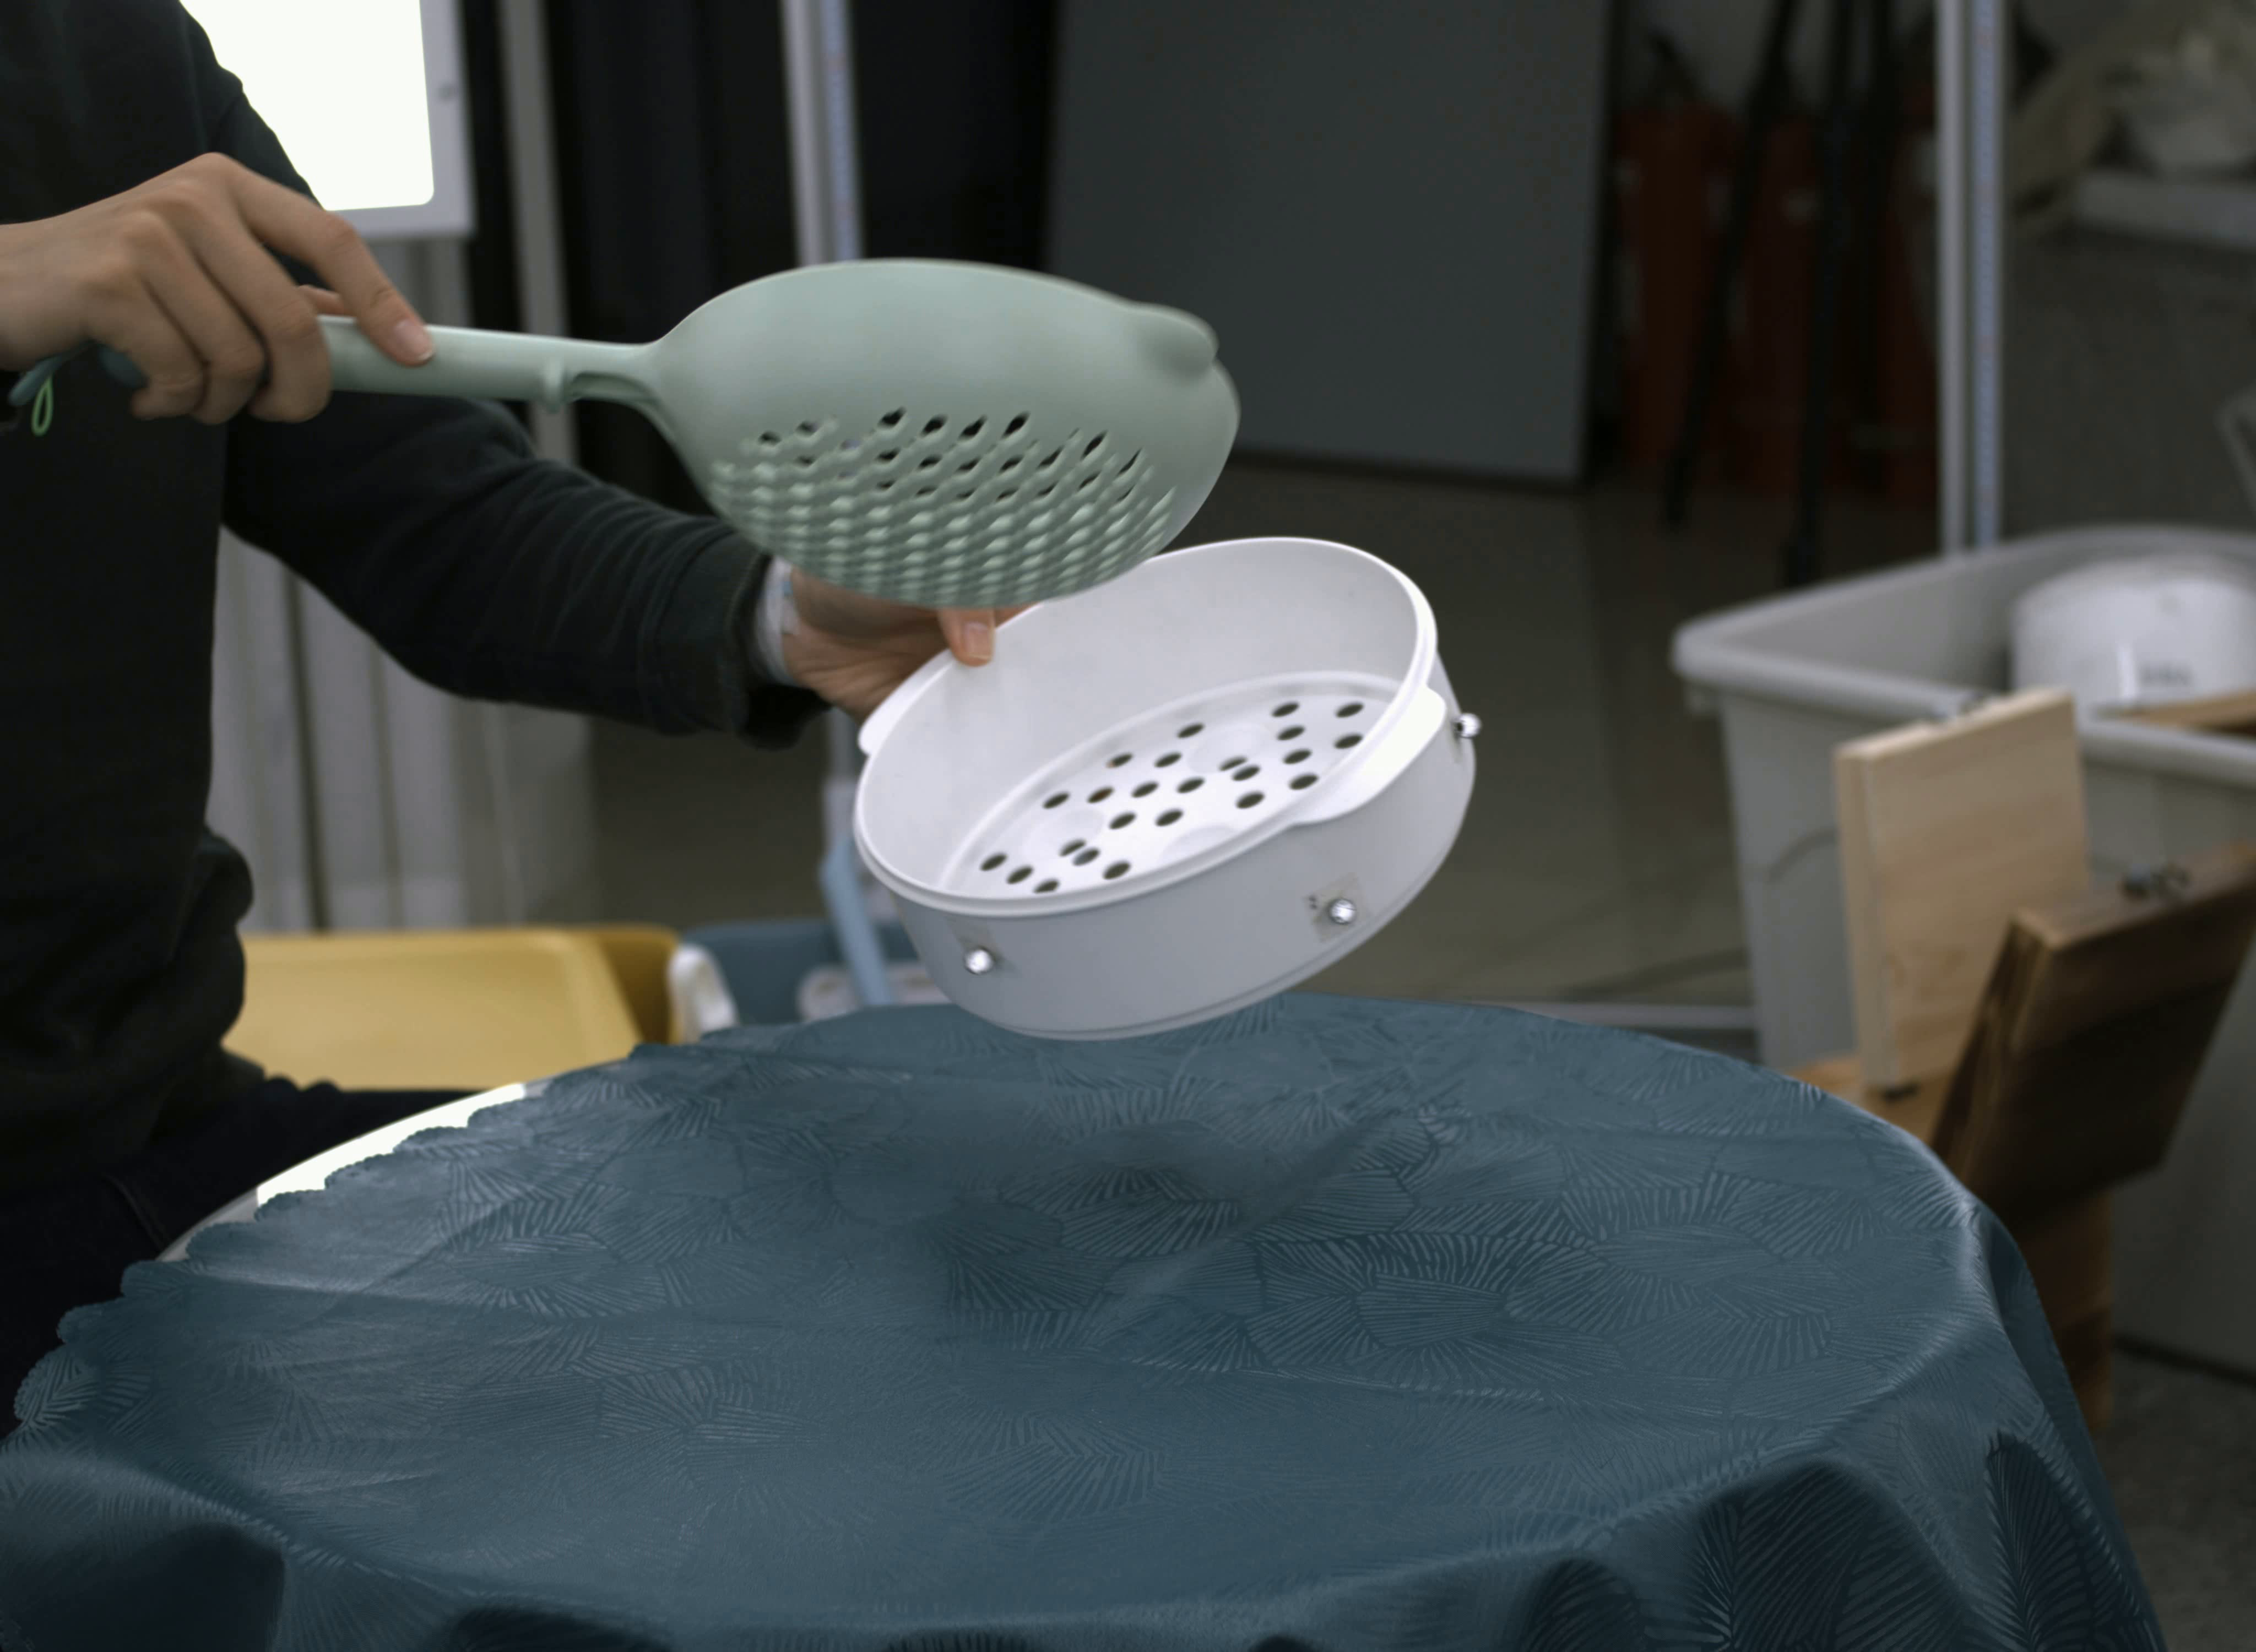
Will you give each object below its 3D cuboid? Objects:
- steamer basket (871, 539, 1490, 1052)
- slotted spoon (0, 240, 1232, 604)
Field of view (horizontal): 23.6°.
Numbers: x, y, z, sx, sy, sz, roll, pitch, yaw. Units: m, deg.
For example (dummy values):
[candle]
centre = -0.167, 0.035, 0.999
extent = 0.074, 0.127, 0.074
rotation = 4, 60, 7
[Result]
[steamer basket]
centre = 0.020, -0.010, 1.739
extent = 0.232, 0.069, 0.200
rotation = 7, 42, 44
[slotted spoon]
centre = -0.150, -0.128, 1.571
extent = 0.354, 0.076, 0.170
rotation = 13, -24, 0
